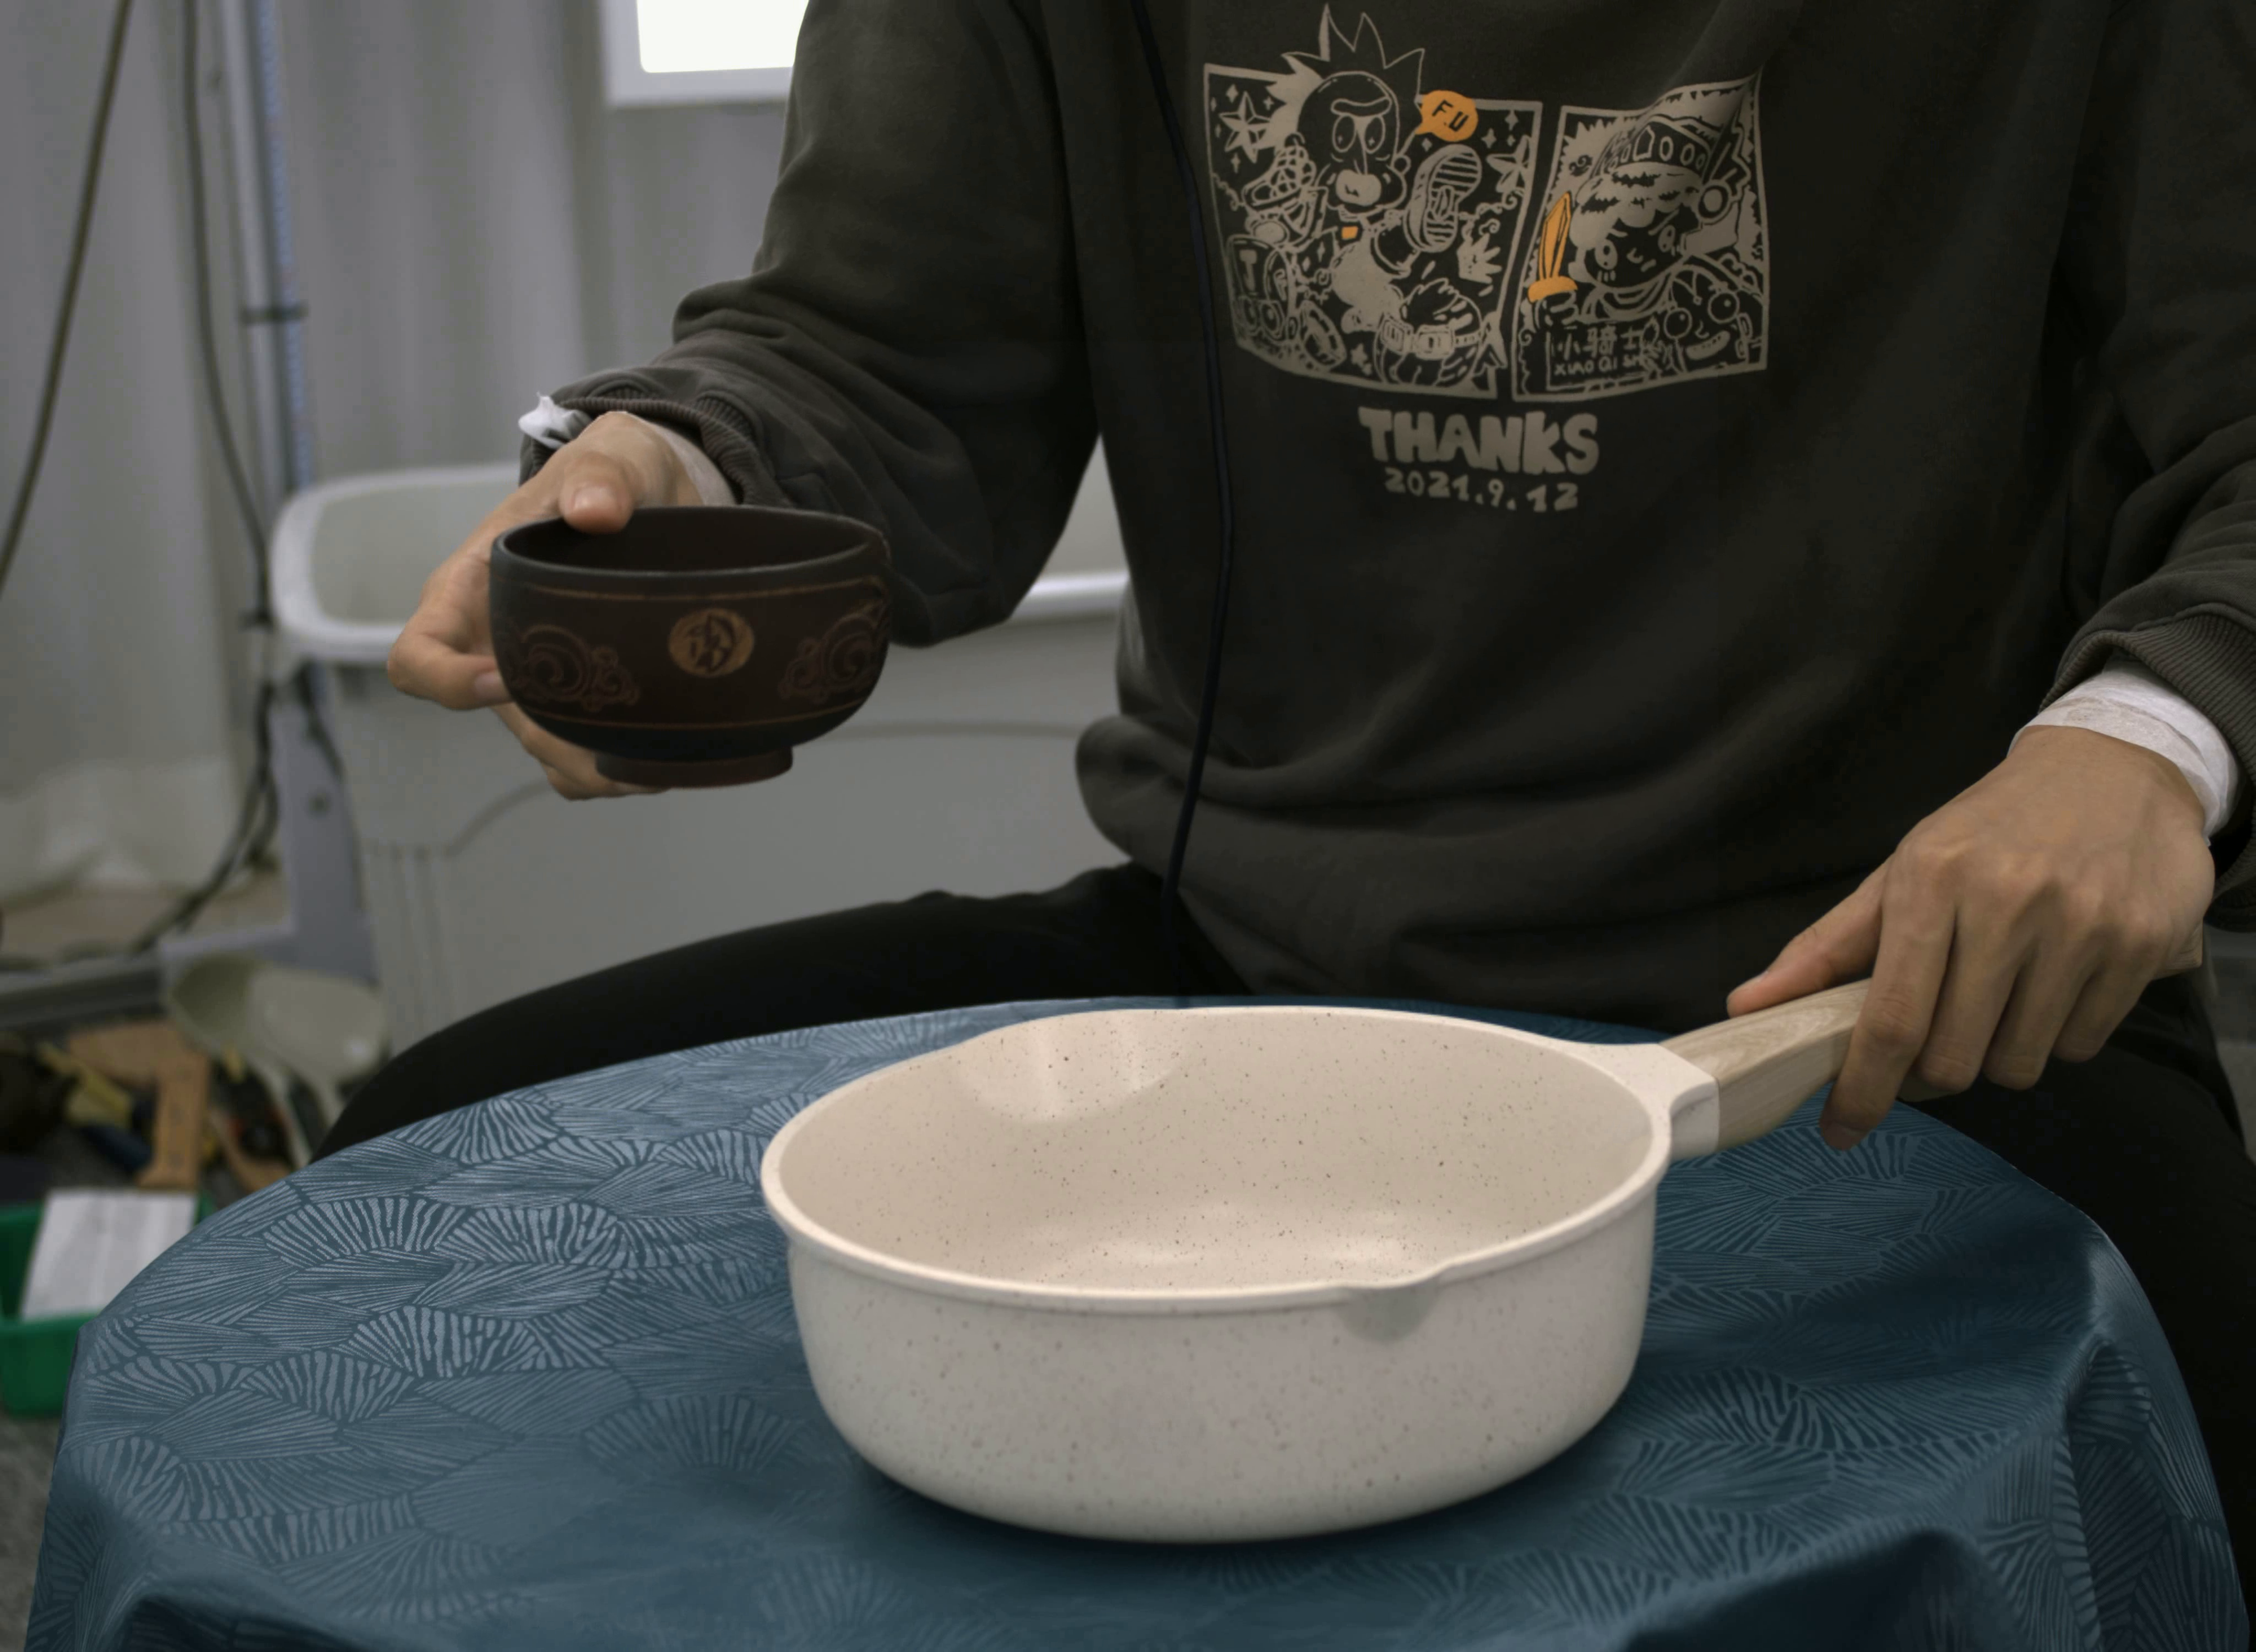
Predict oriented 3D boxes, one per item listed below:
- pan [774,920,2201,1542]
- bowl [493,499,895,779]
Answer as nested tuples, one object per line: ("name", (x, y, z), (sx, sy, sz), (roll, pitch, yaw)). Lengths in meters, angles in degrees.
("pan", (0.114, 0.107, 1.541), (0.433, 0.101, 0.265), (-8, 14, -20))
("bowl", (-0.126, -0.053, 1.602), (0.117, 0.070, 0.118), (-1, 11, 0))
